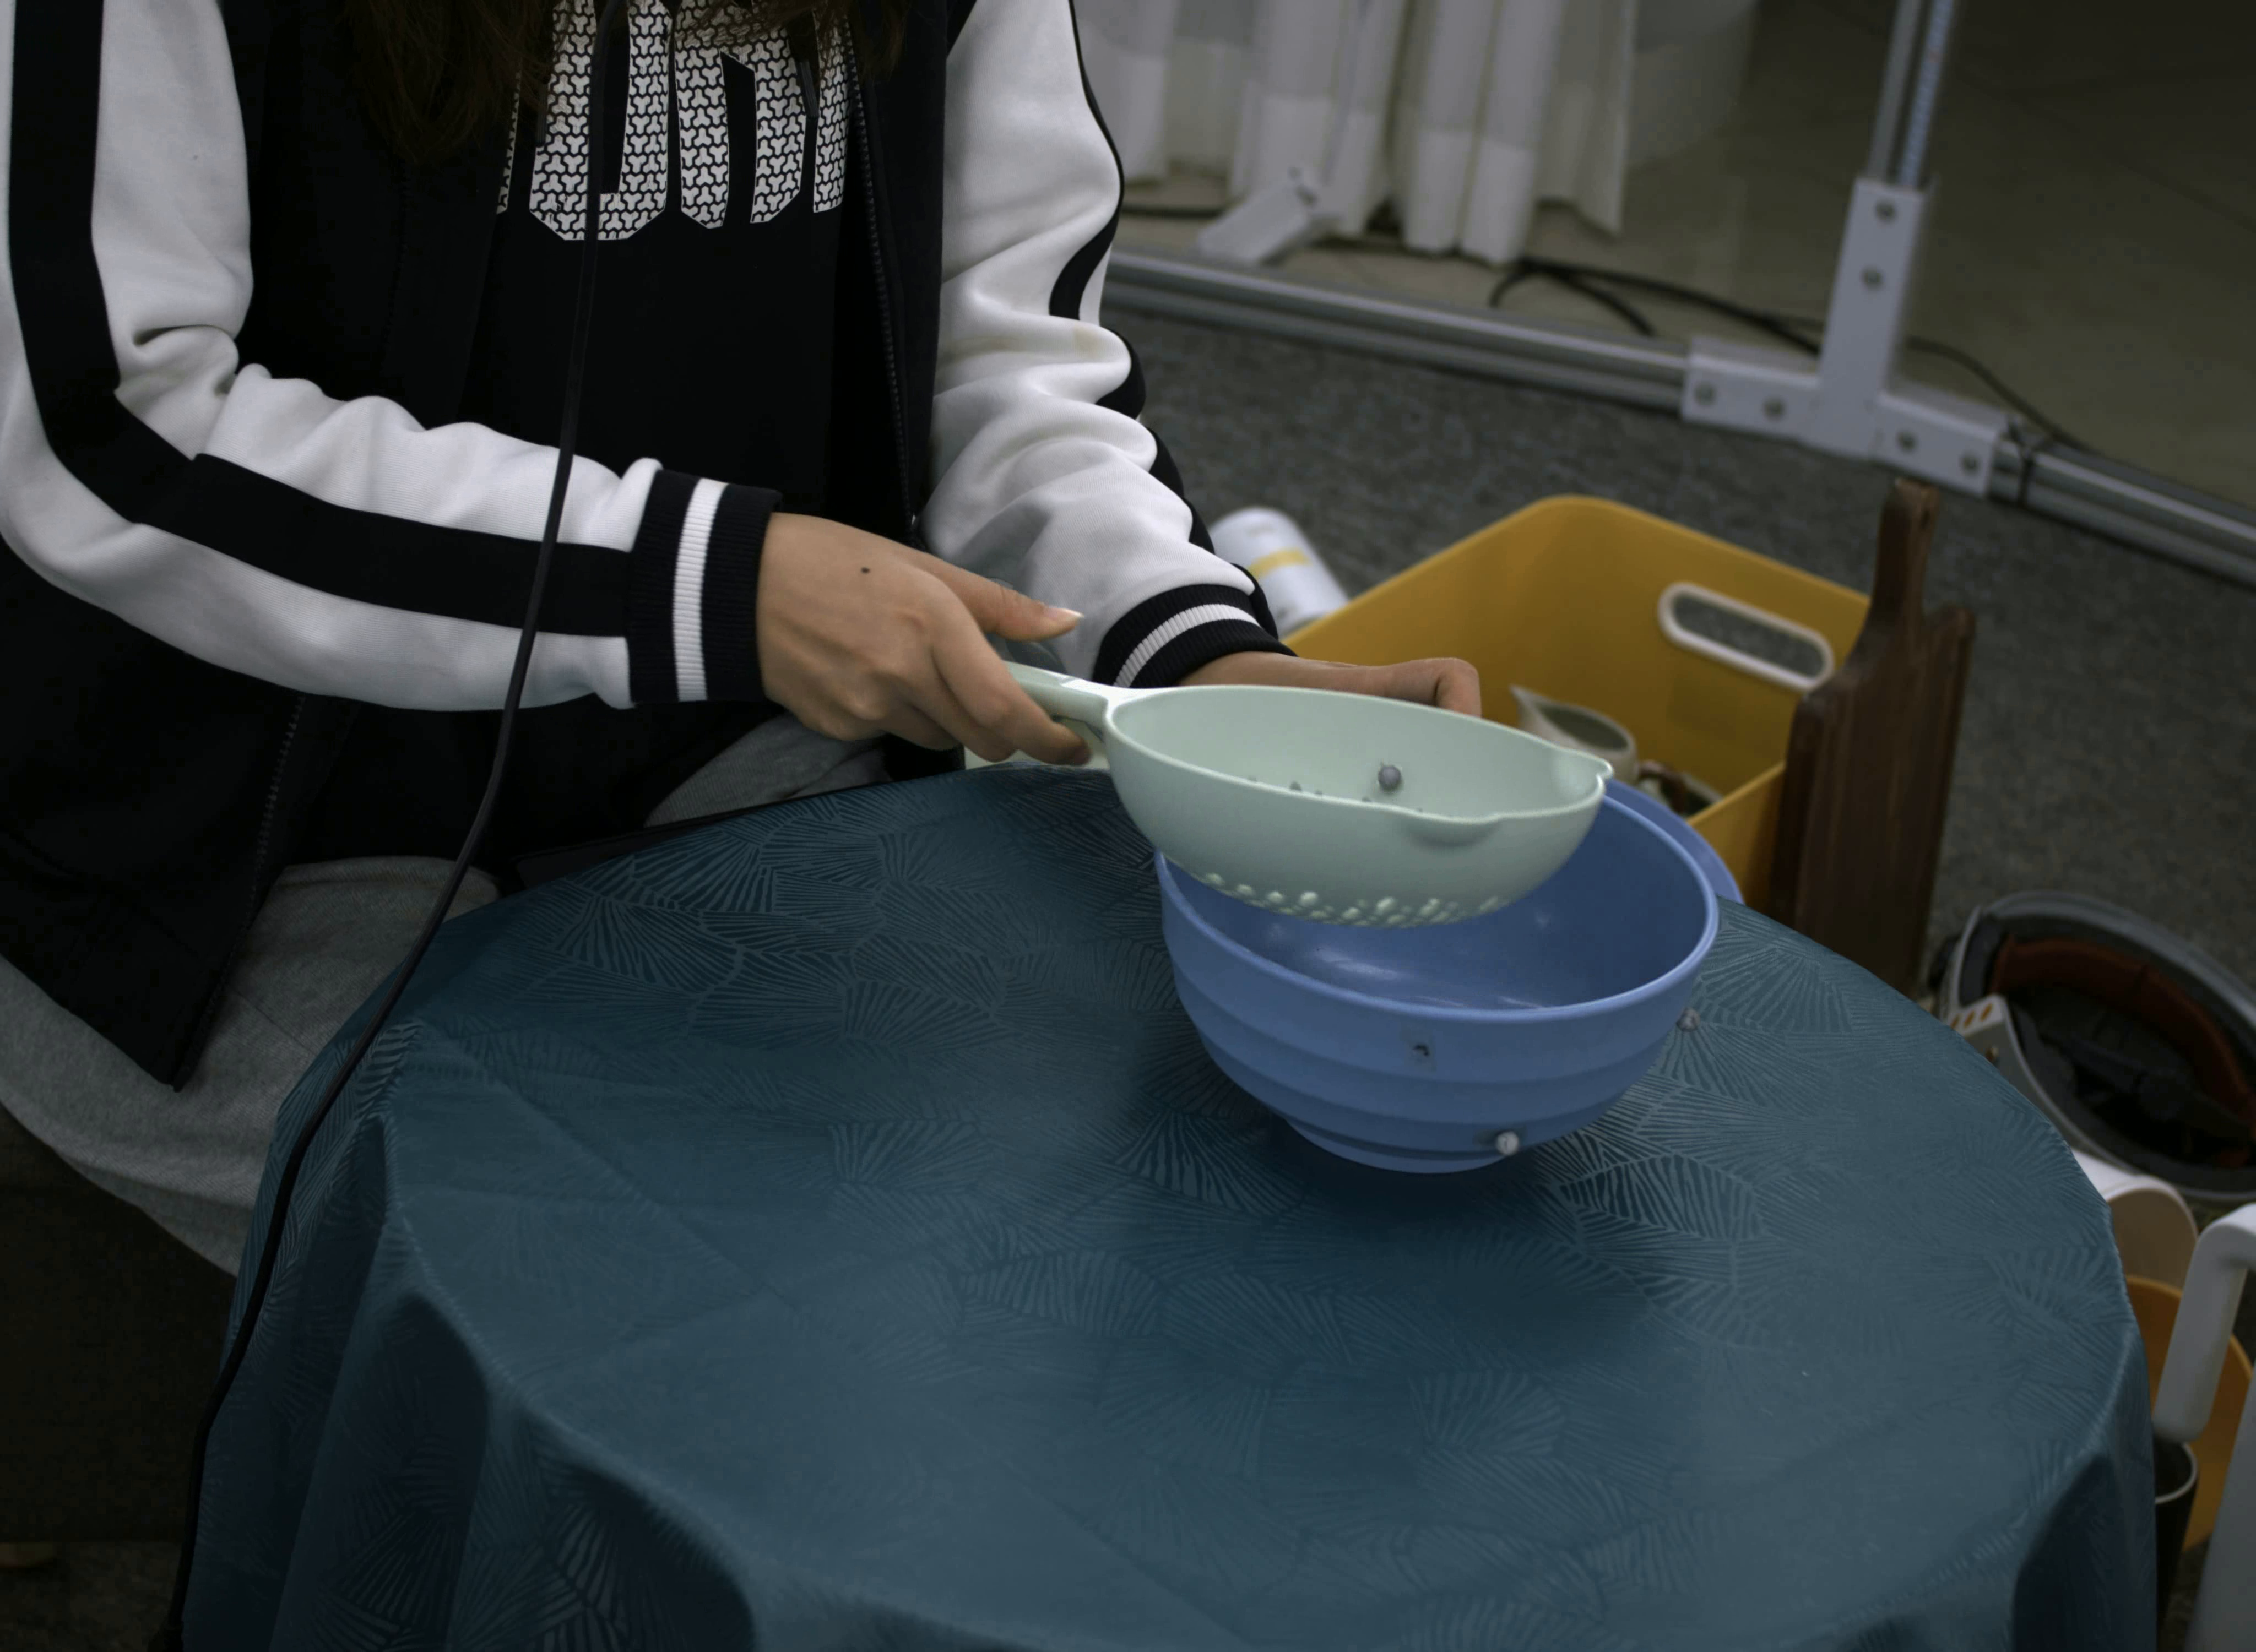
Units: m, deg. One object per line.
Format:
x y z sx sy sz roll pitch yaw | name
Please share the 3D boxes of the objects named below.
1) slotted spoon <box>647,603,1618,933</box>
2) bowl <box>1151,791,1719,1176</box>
-0.010 -0.034 1.833 0.360 0.075 0.168 22 16 23 | slotted spoon
0.101 0.058 1.850 0.196 0.095 0.197 4 27 -3 | bowl
